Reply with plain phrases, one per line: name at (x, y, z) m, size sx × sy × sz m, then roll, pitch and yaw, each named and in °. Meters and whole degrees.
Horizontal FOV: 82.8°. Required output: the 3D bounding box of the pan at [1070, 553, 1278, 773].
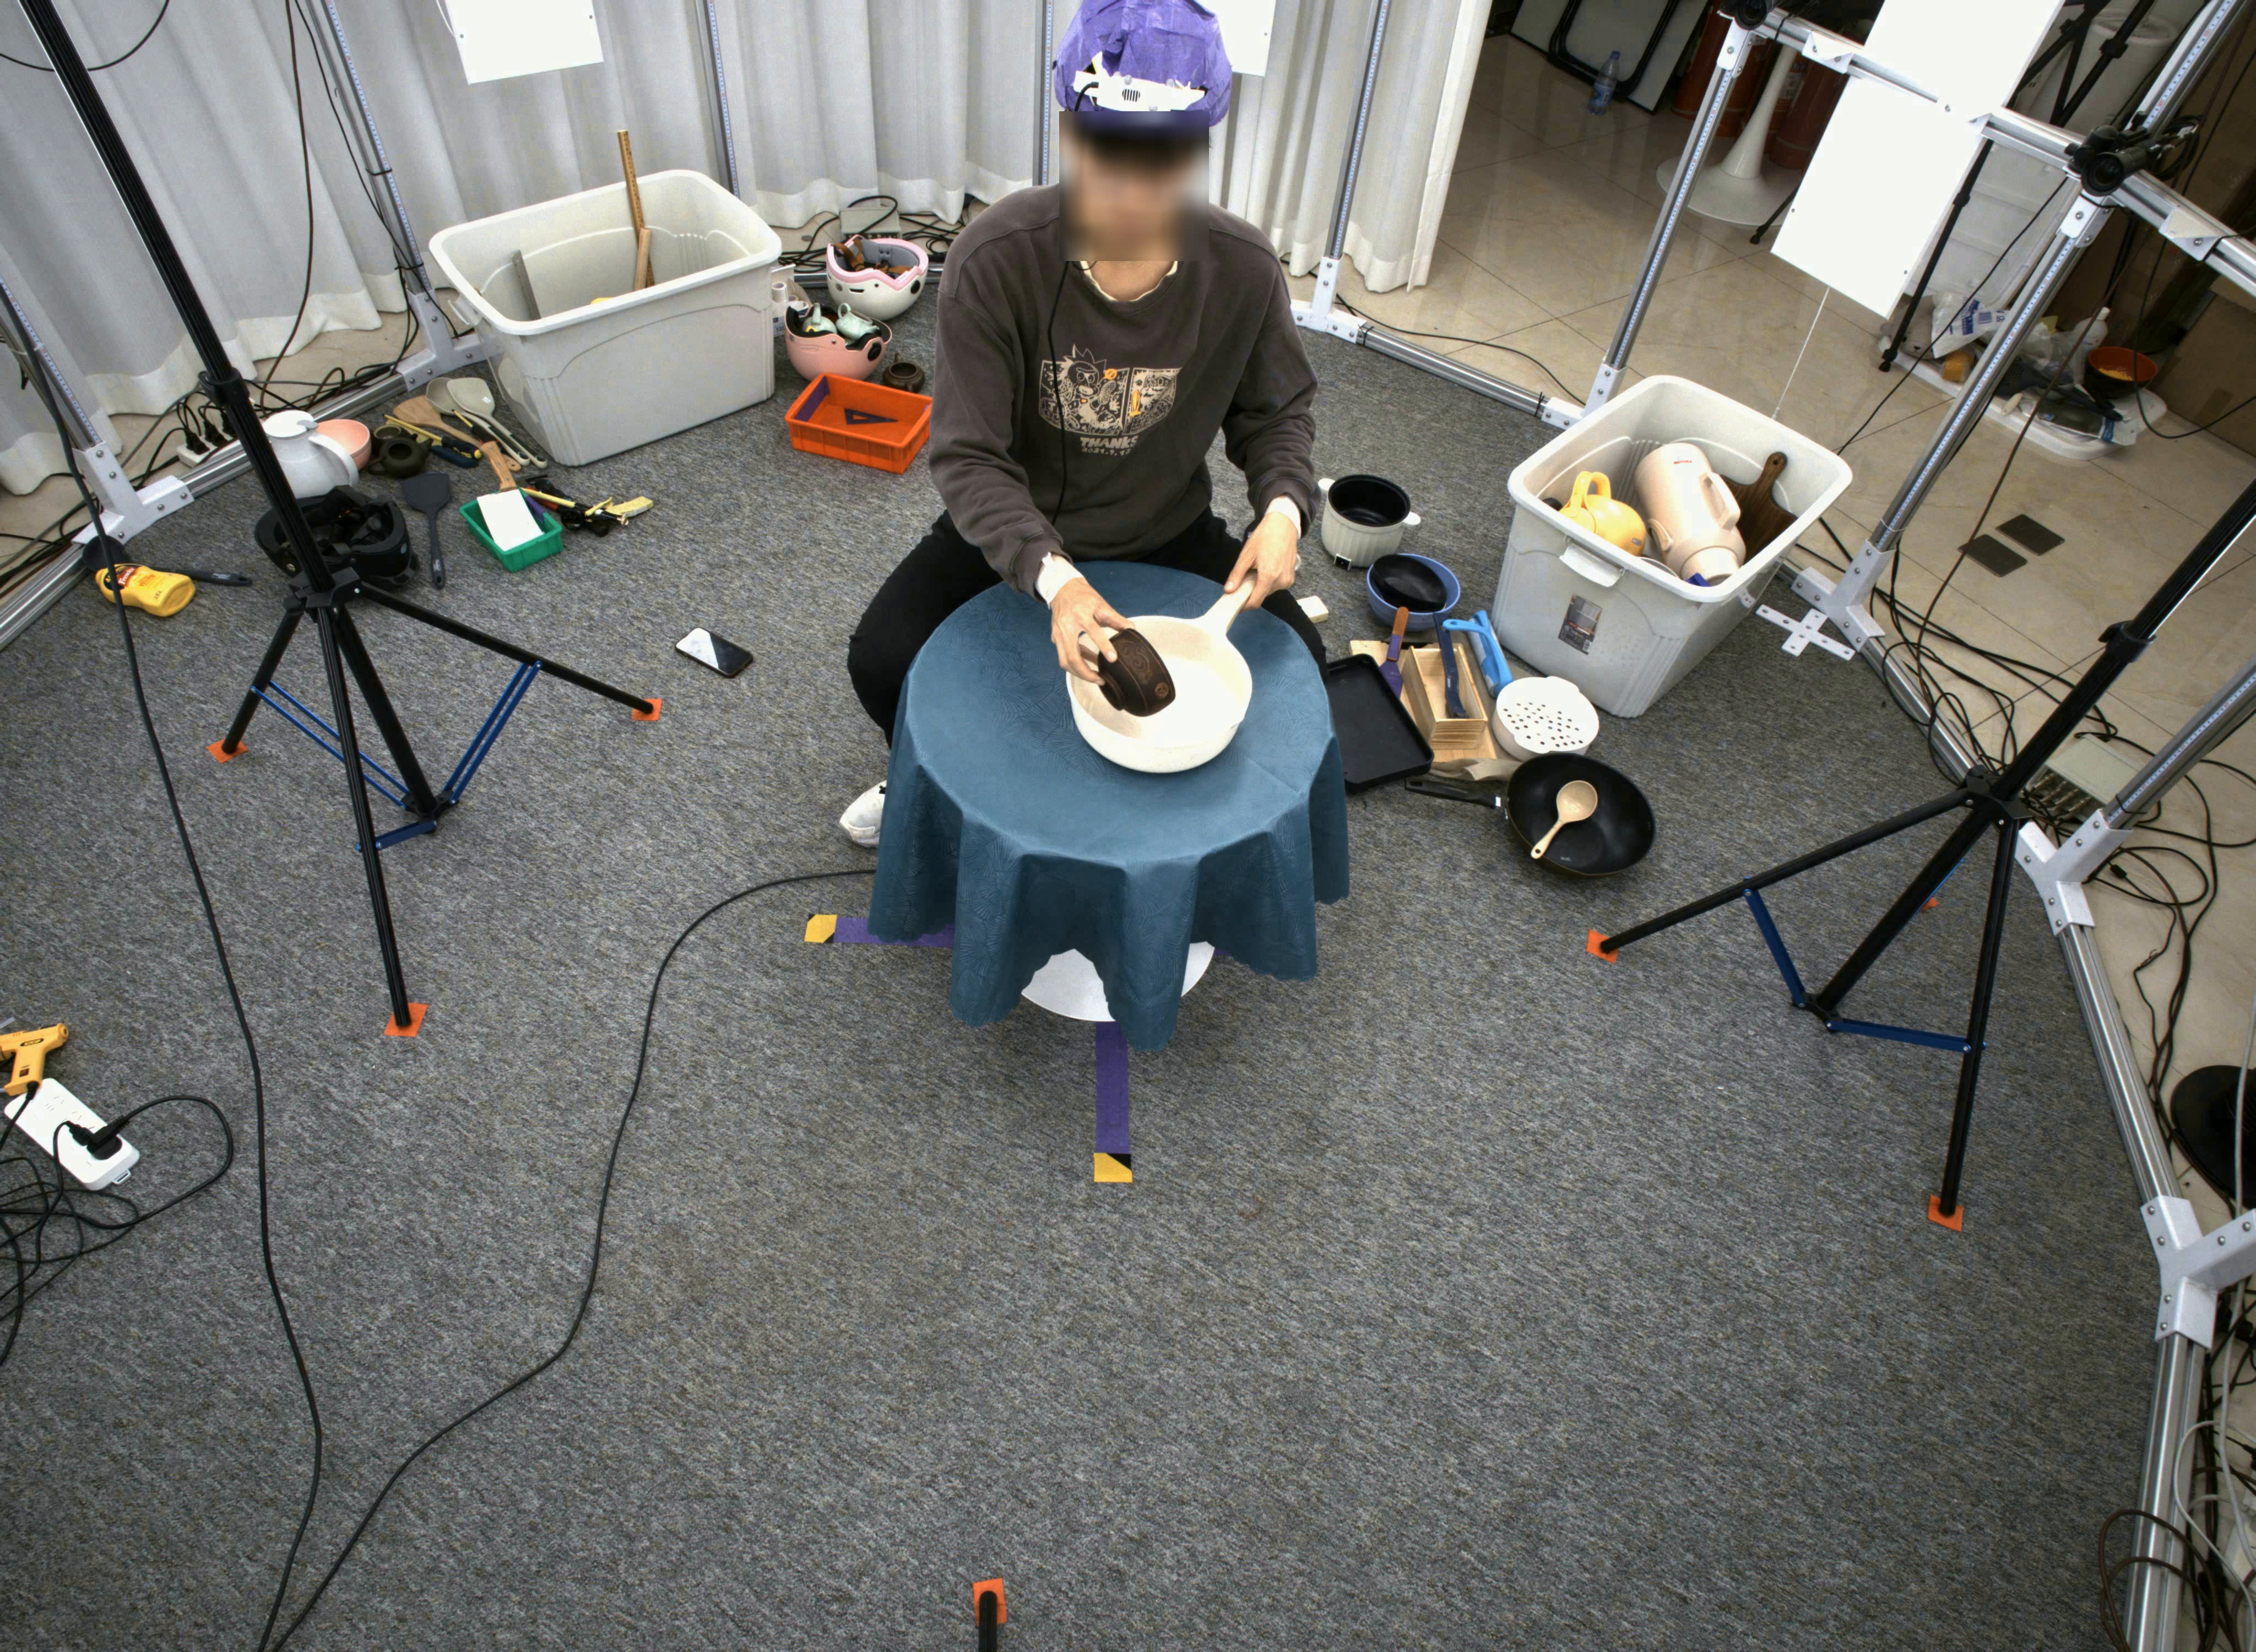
pan at (0.096, -0.235, 1.813) m, size 0.266 × 0.099 × 0.441 m, roll 27°, pitch 52°, yaw 21°

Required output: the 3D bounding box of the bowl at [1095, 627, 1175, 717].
bowl at (0.000, -0.194, 1.683) m, size 0.070 × 0.115 × 0.120 m, roll -35°, pitch 59°, yaw -14°
